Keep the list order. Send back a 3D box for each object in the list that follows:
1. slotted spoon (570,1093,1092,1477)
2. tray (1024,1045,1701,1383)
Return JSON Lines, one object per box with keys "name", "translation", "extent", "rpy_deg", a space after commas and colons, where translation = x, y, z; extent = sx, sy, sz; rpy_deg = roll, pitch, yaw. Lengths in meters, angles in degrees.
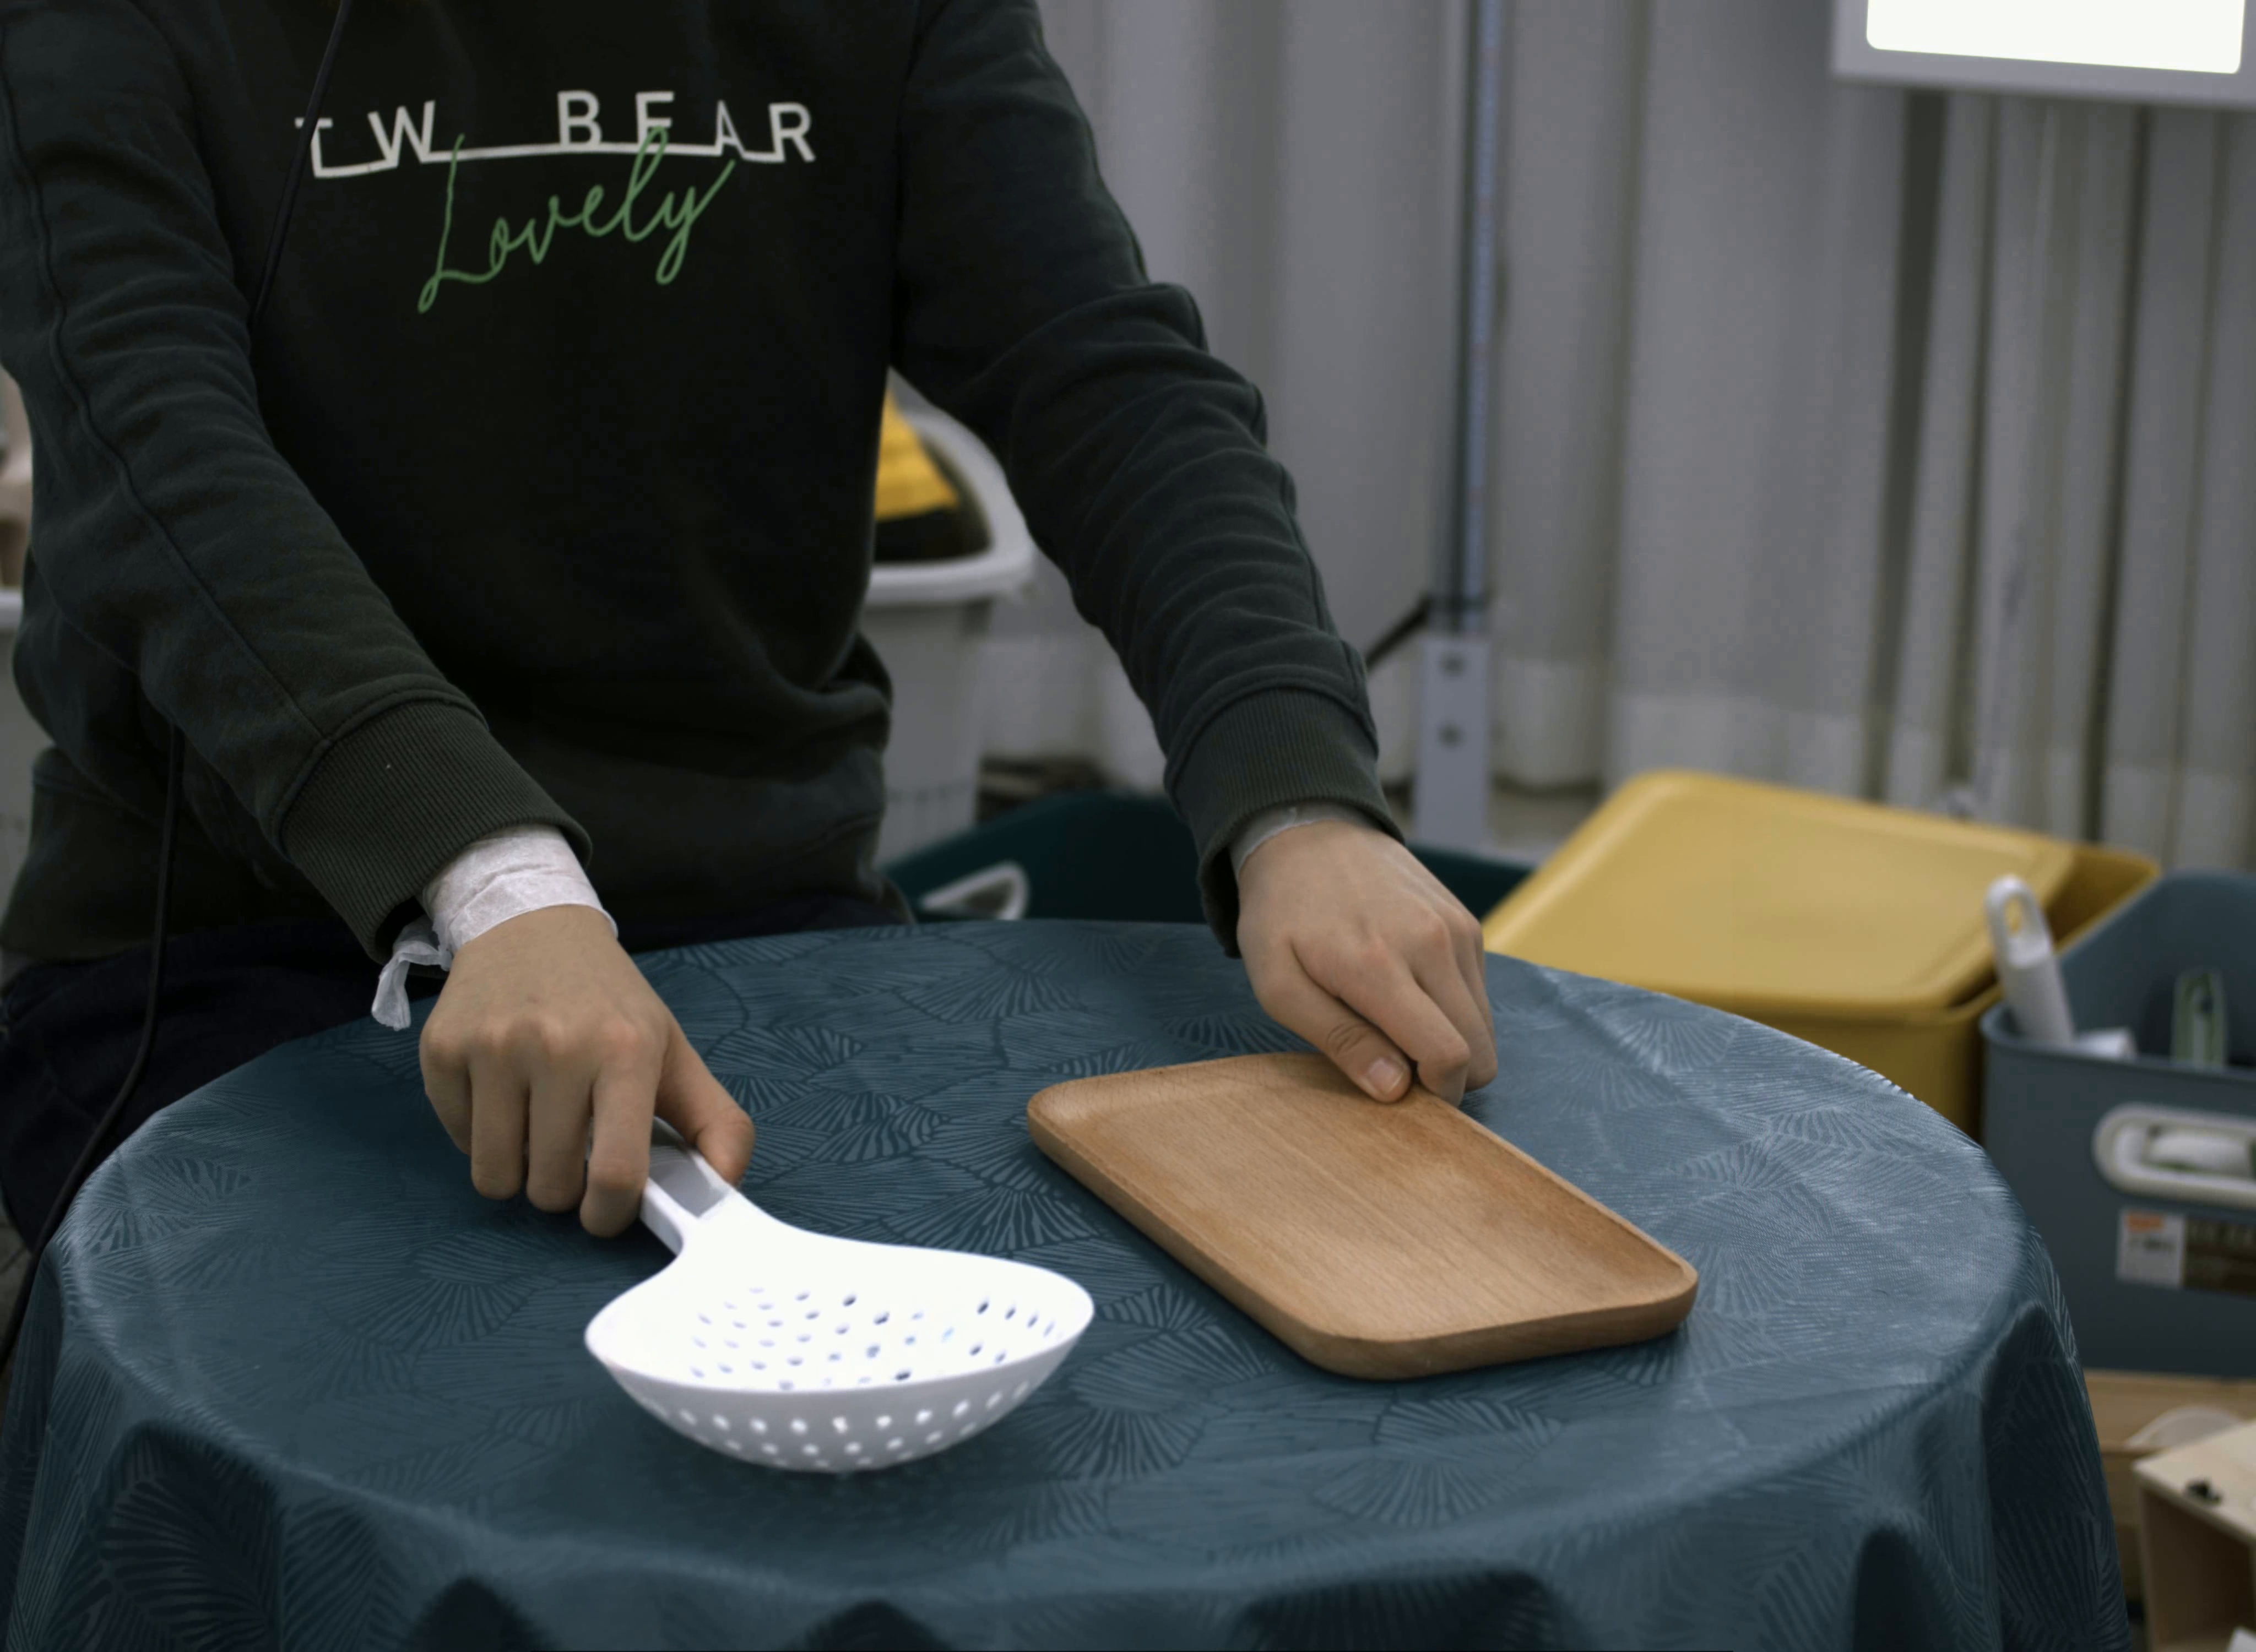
{"name": "slotted spoon", "translation": [-0.111, 0.121, 1.507], "extent": [0.136, 0.046, 0.346], "rpy_deg": [-4, 16, -18]}
{"name": "tray", "translation": [0.066, 0.114, 1.592], "extent": [0.131, 0.023, 0.248], "rpy_deg": [-4, 16, -23]}
